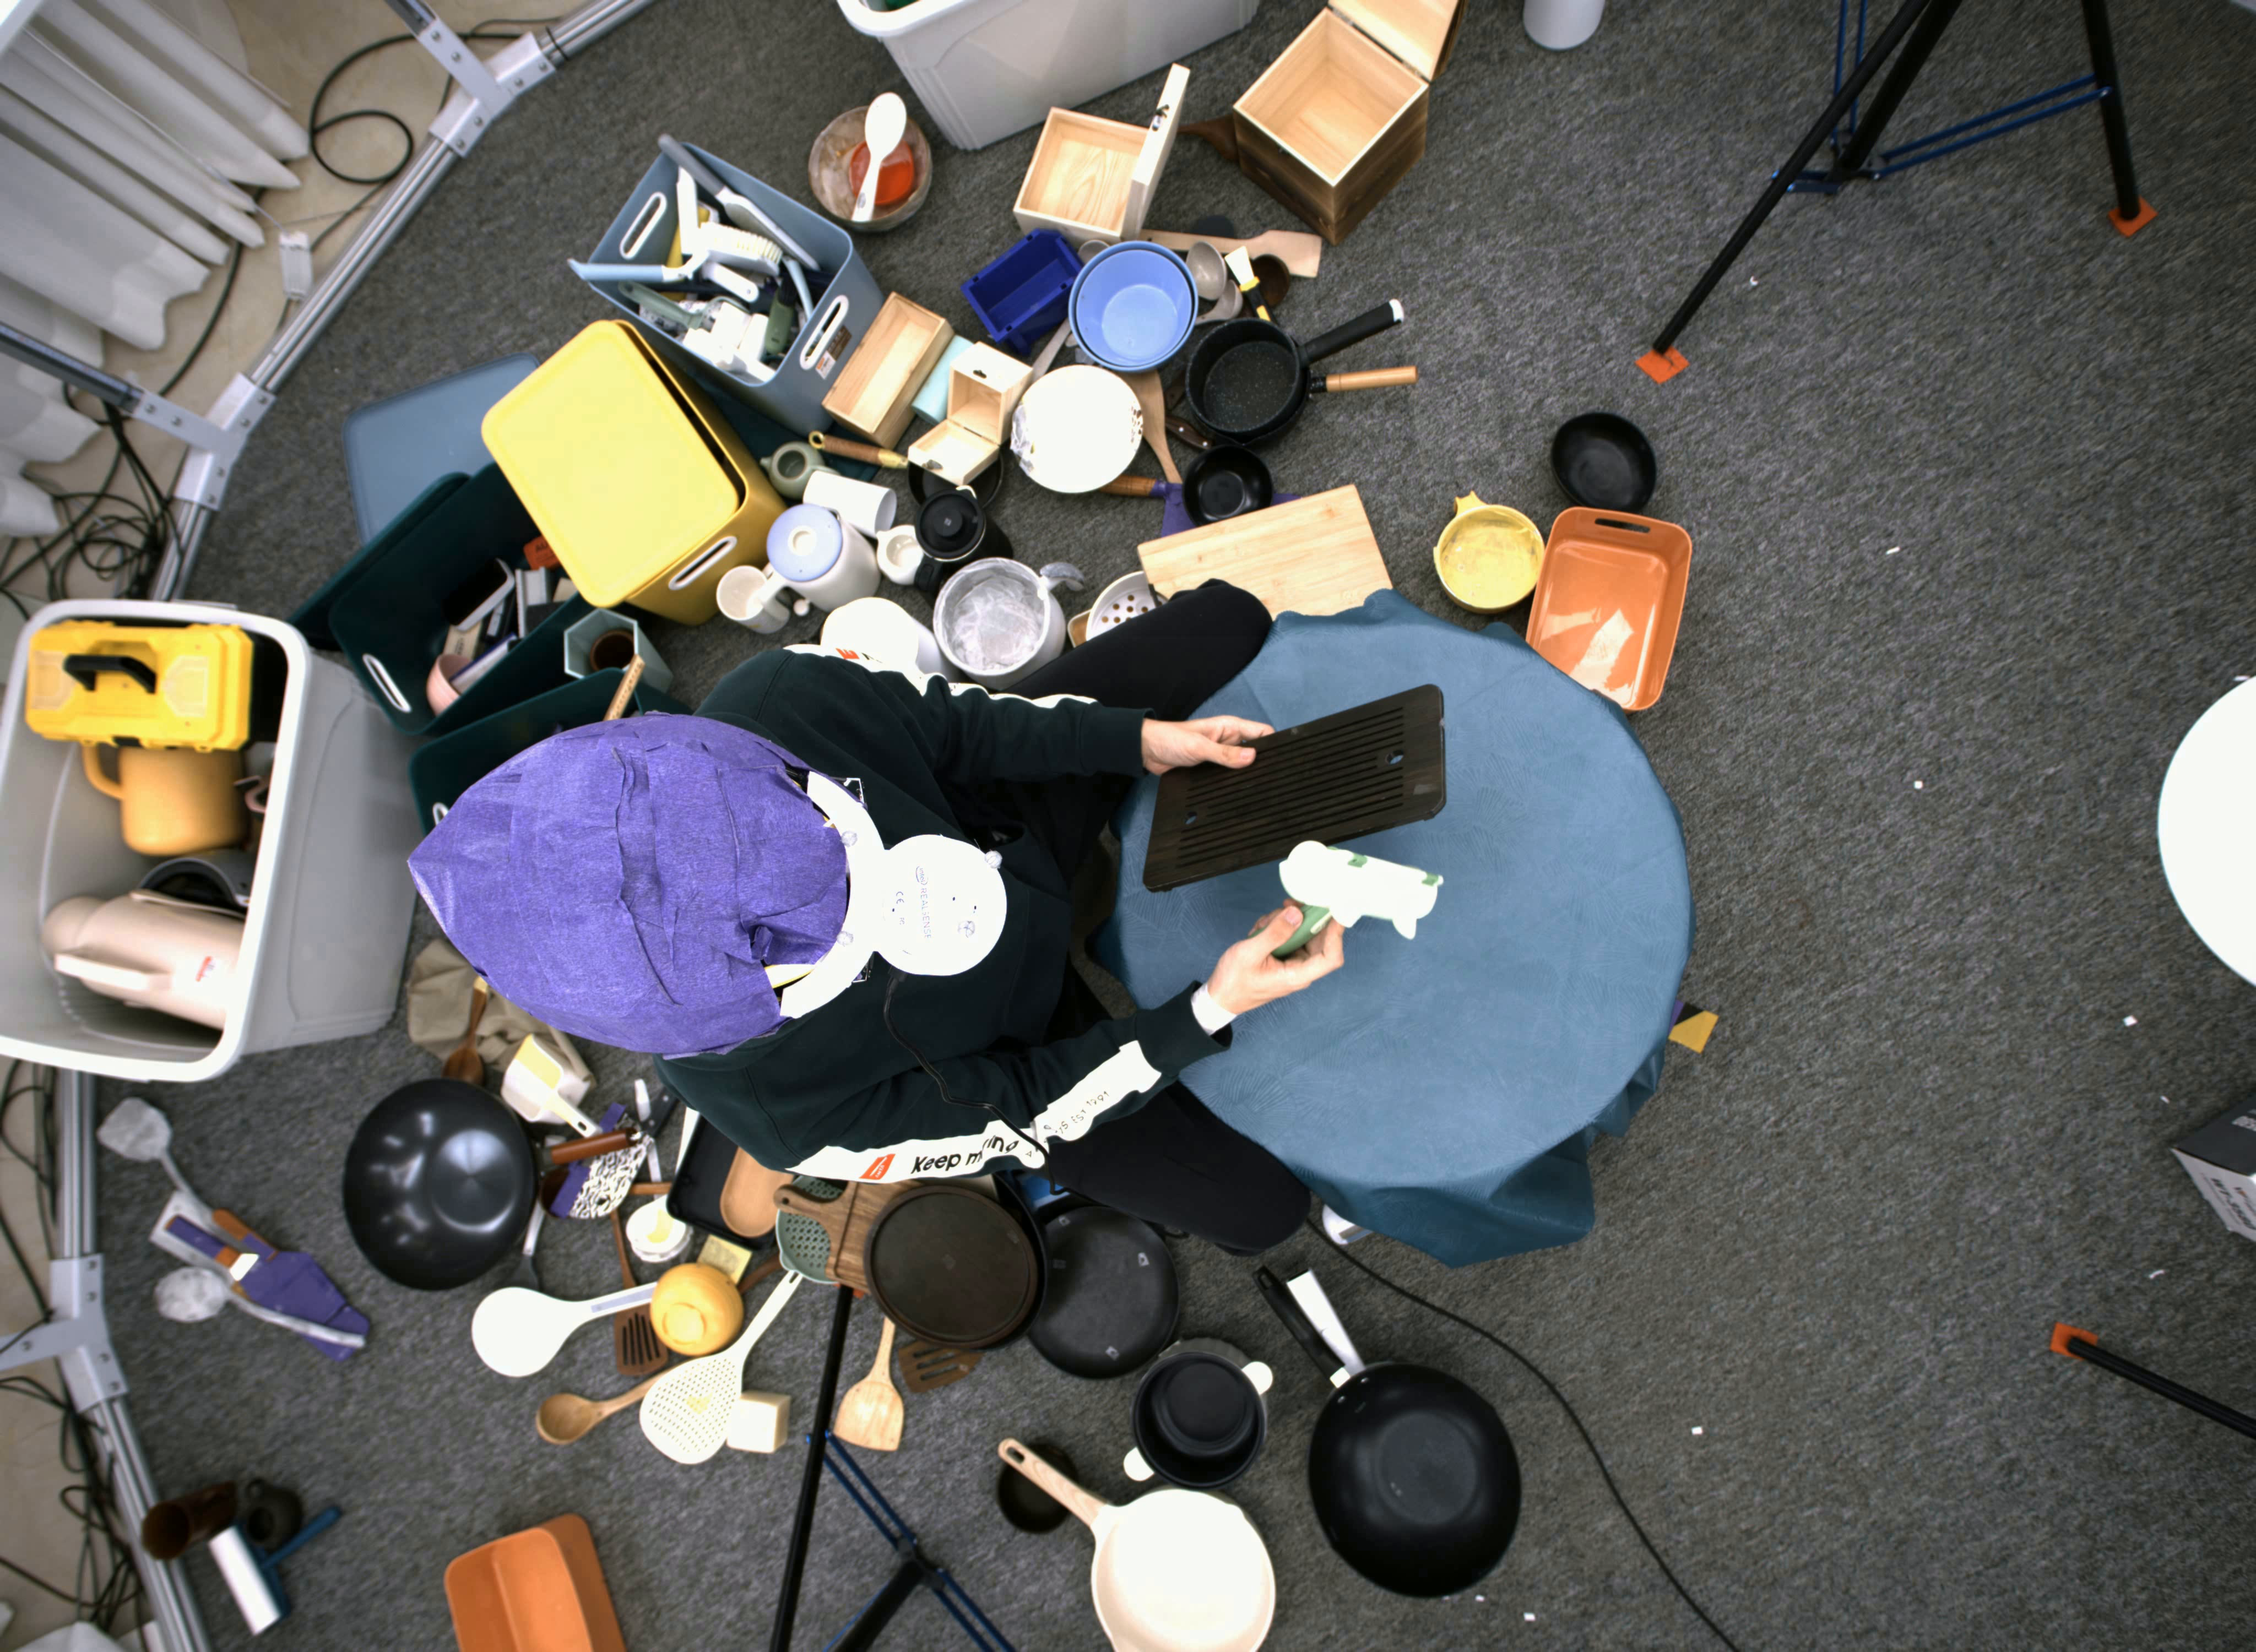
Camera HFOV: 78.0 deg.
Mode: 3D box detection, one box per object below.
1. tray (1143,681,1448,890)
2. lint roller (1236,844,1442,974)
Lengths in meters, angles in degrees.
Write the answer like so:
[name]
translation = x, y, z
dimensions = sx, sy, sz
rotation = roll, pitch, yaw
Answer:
[tray]
translation = 0.157, -0.036, 1.313
dimensions = 0.310, 0.019, 0.165
rotation = -17, 43, 28
[lint roller]
translation = 0.178, 0.096, 1.254
dimensions = 0.186, 0.198, 0.081
rotation = -46, 57, 24
